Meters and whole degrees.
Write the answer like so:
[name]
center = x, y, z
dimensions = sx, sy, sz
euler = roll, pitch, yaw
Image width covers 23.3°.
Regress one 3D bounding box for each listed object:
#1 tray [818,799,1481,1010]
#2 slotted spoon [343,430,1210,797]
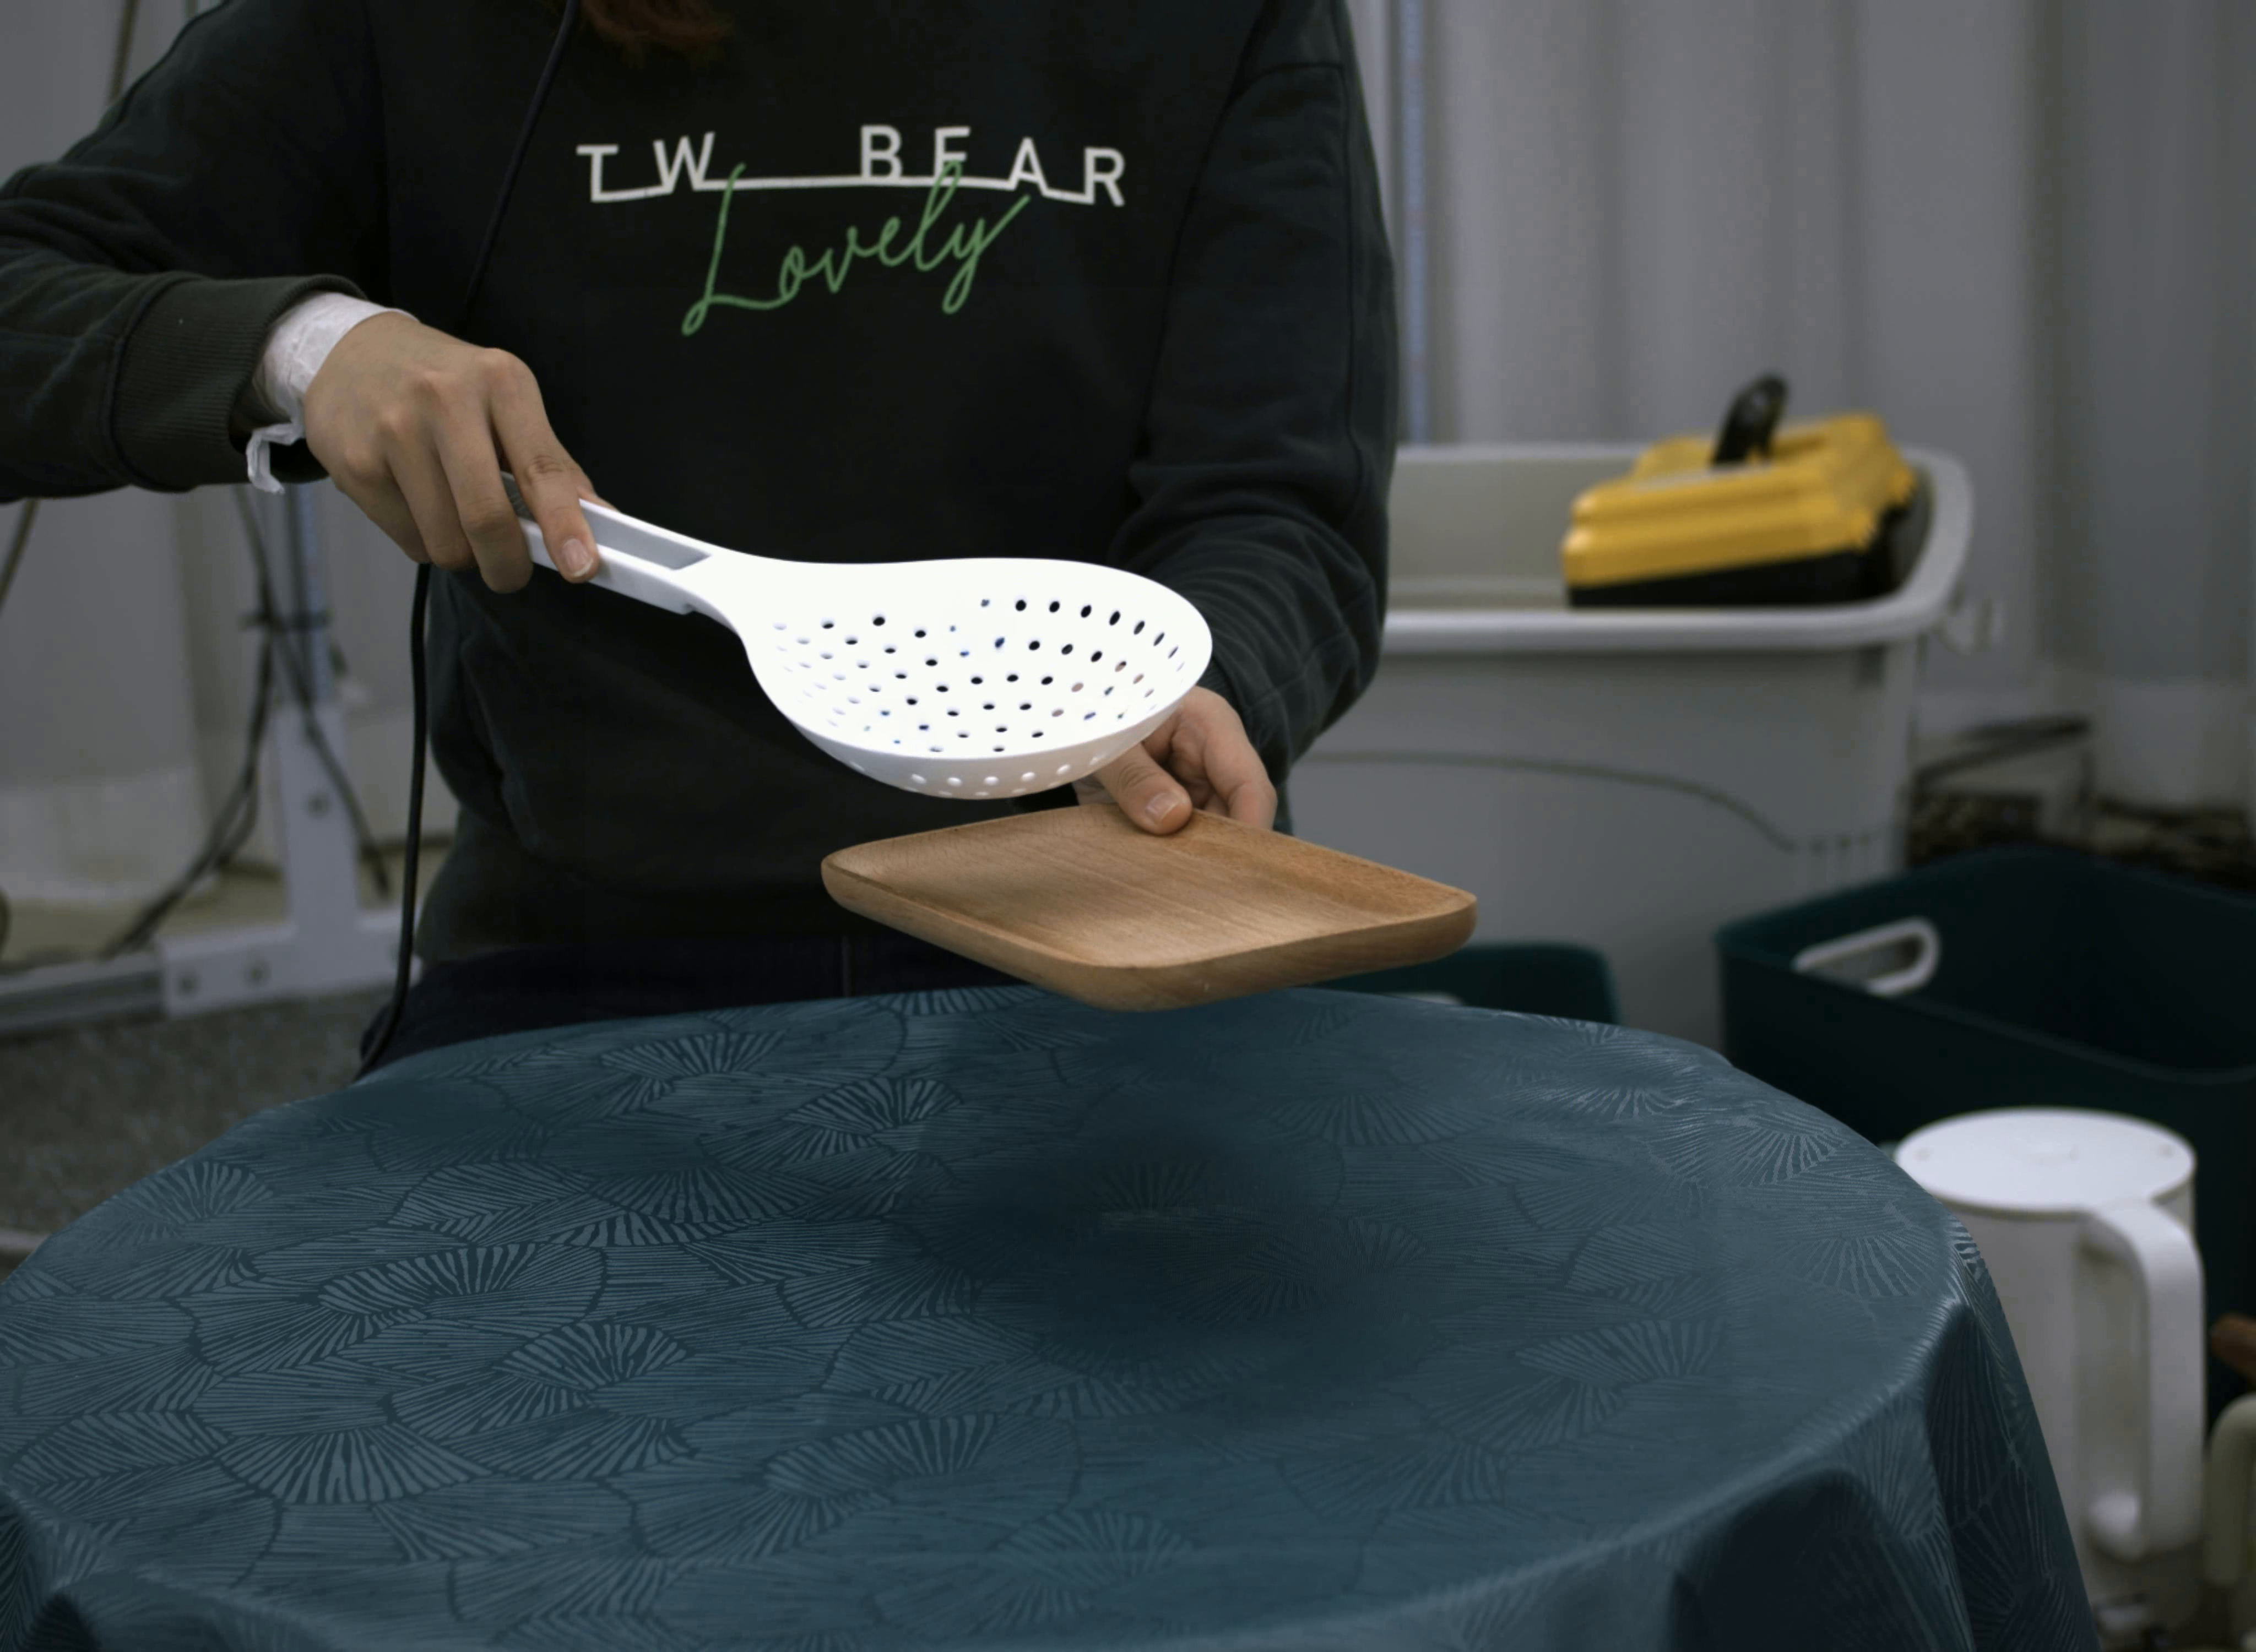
[tray]
center = 0.002, 0.022, 1.652
dimensions = 0.130, 0.023, 0.252
euler = -7, 9, -23
[slotted spoon]
center = -0.124, -0.075, 1.732
dimensions = 0.352, 0.045, 0.136
euler = 25, 37, 34
